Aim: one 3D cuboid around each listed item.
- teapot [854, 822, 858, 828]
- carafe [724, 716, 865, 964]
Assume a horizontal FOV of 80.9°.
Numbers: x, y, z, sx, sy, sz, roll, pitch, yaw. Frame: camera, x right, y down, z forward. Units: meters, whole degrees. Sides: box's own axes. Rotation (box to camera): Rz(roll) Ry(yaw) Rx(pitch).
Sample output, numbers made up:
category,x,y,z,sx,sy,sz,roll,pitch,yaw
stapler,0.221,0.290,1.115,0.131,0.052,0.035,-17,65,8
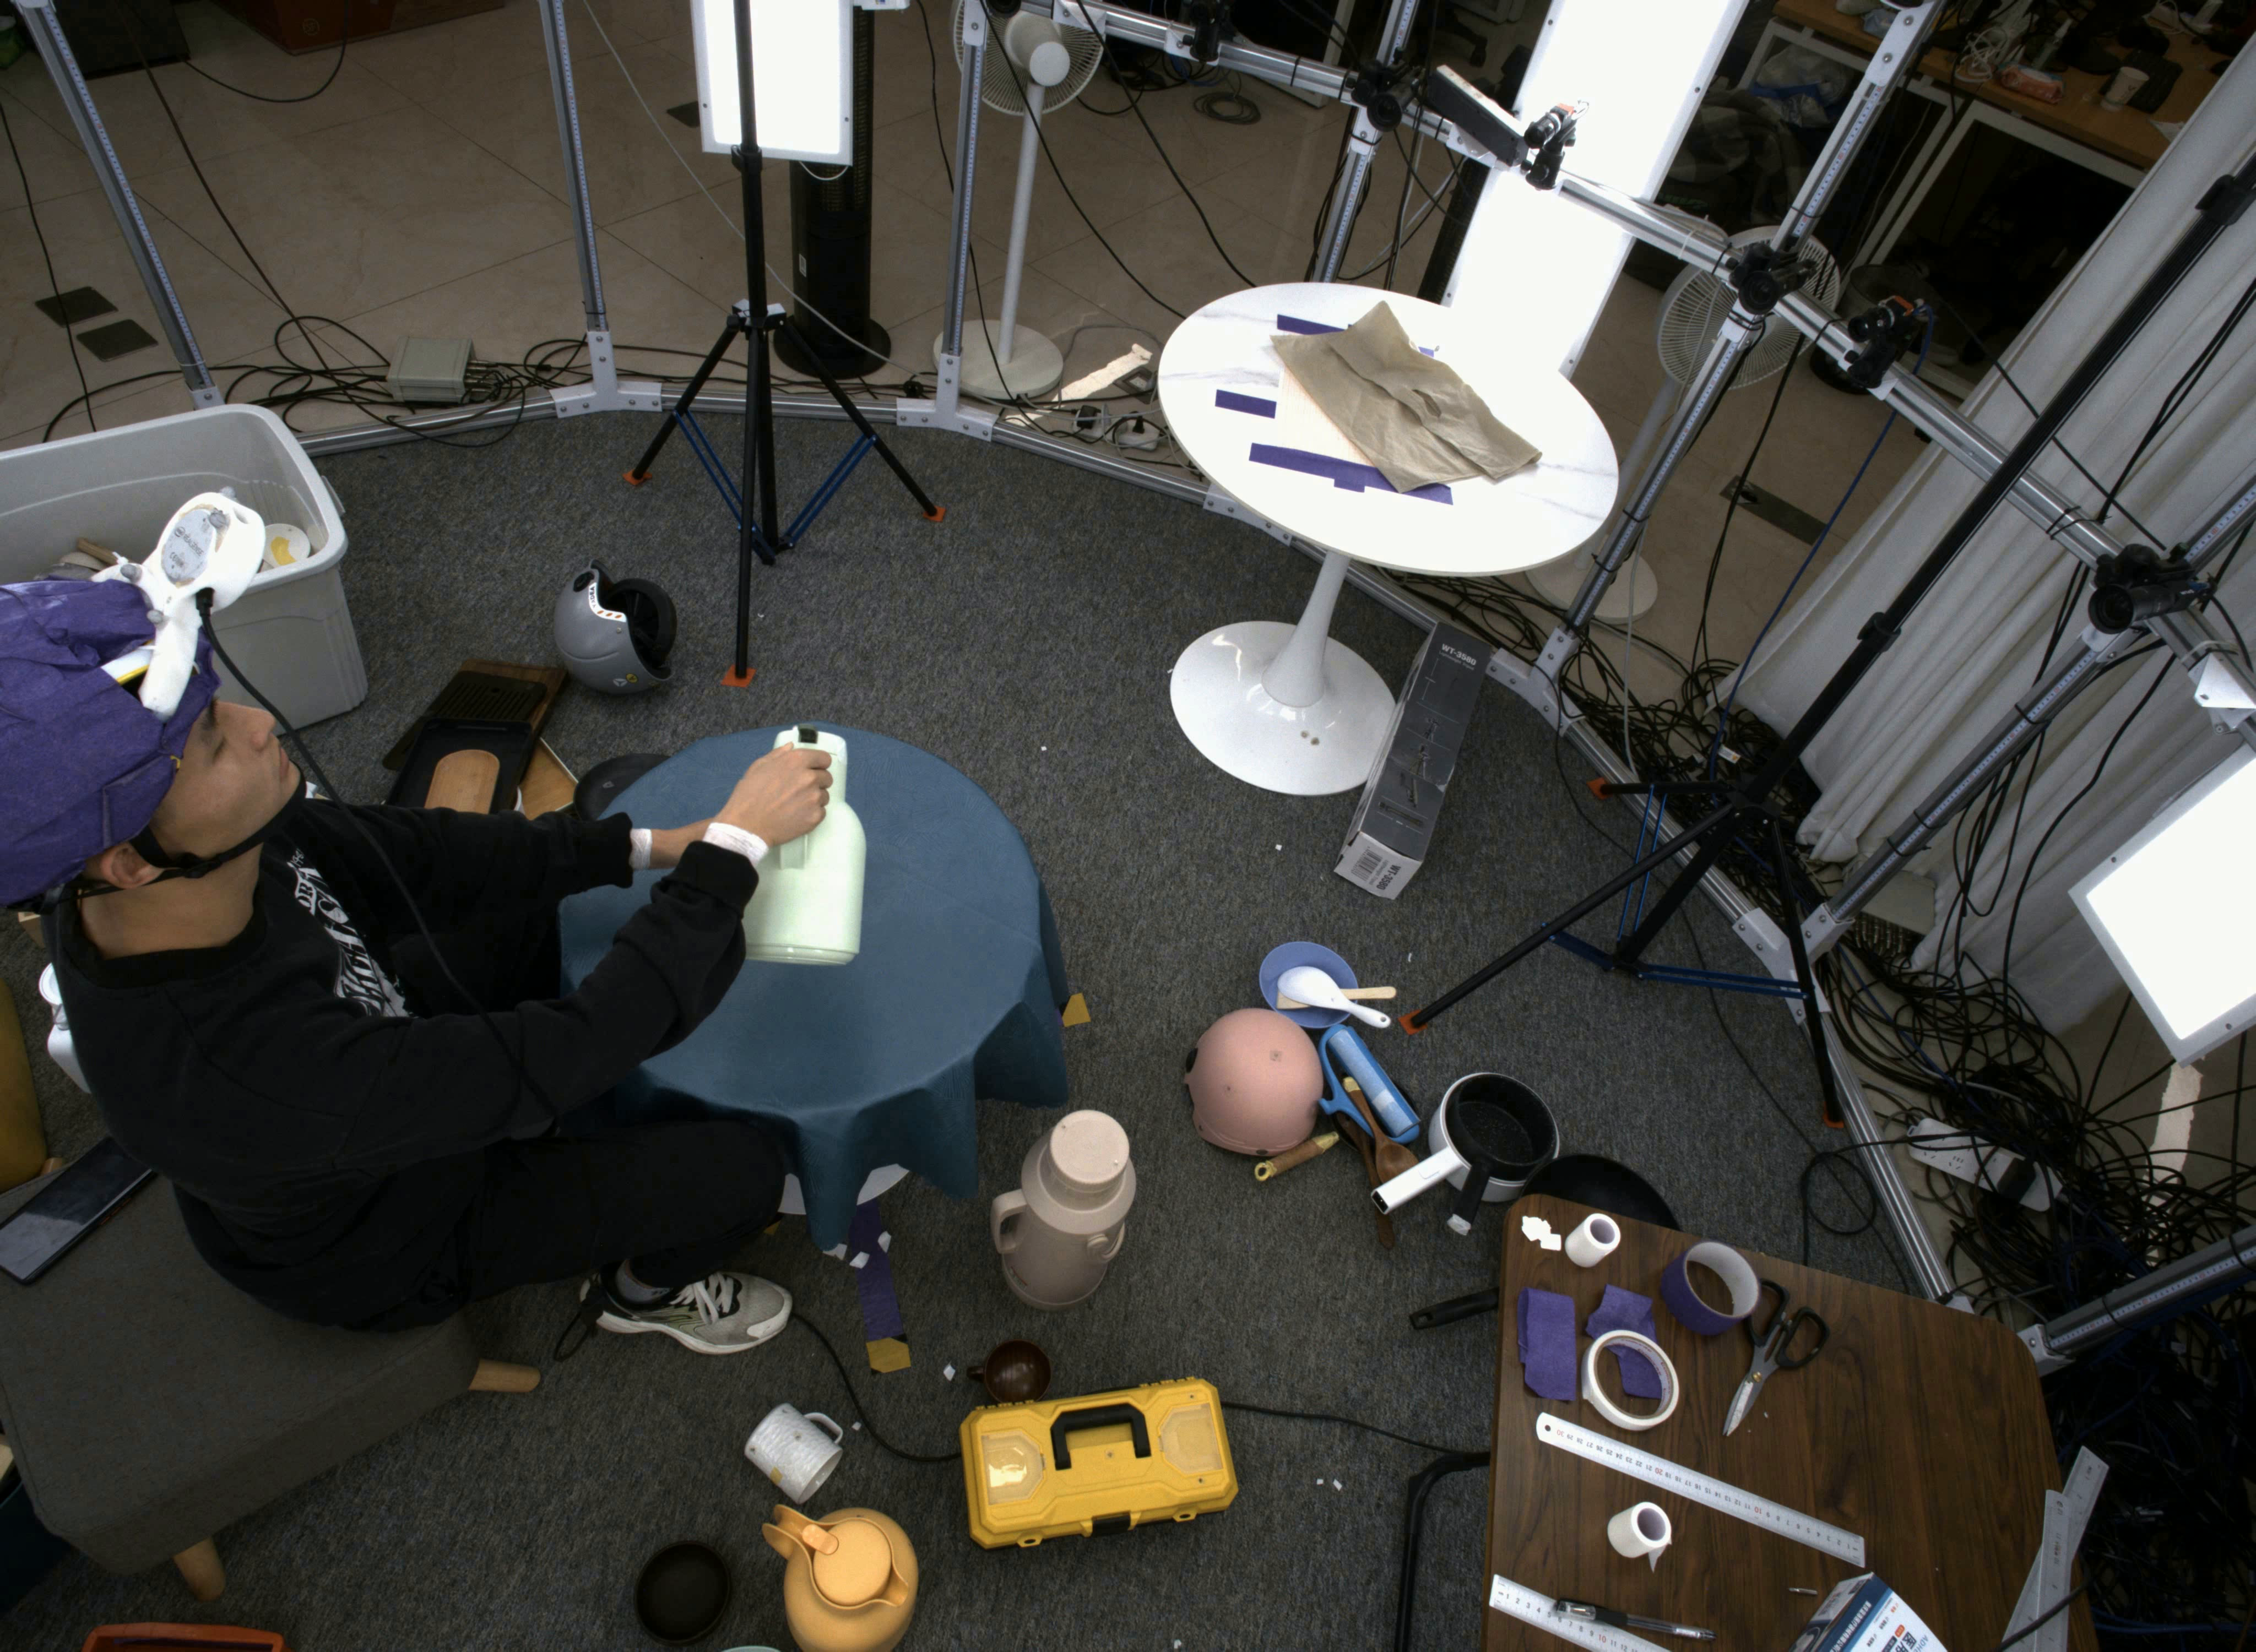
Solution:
category,x,y,z,sx,sy,sz,roll,pitch,yaw
teapot,-0.405,0.016,1.618,0.134,0.054,0.088,-3,48,-18
carafe,-0.357,0.016,1.403,0.144,0.185,0.259,4,86,-9
